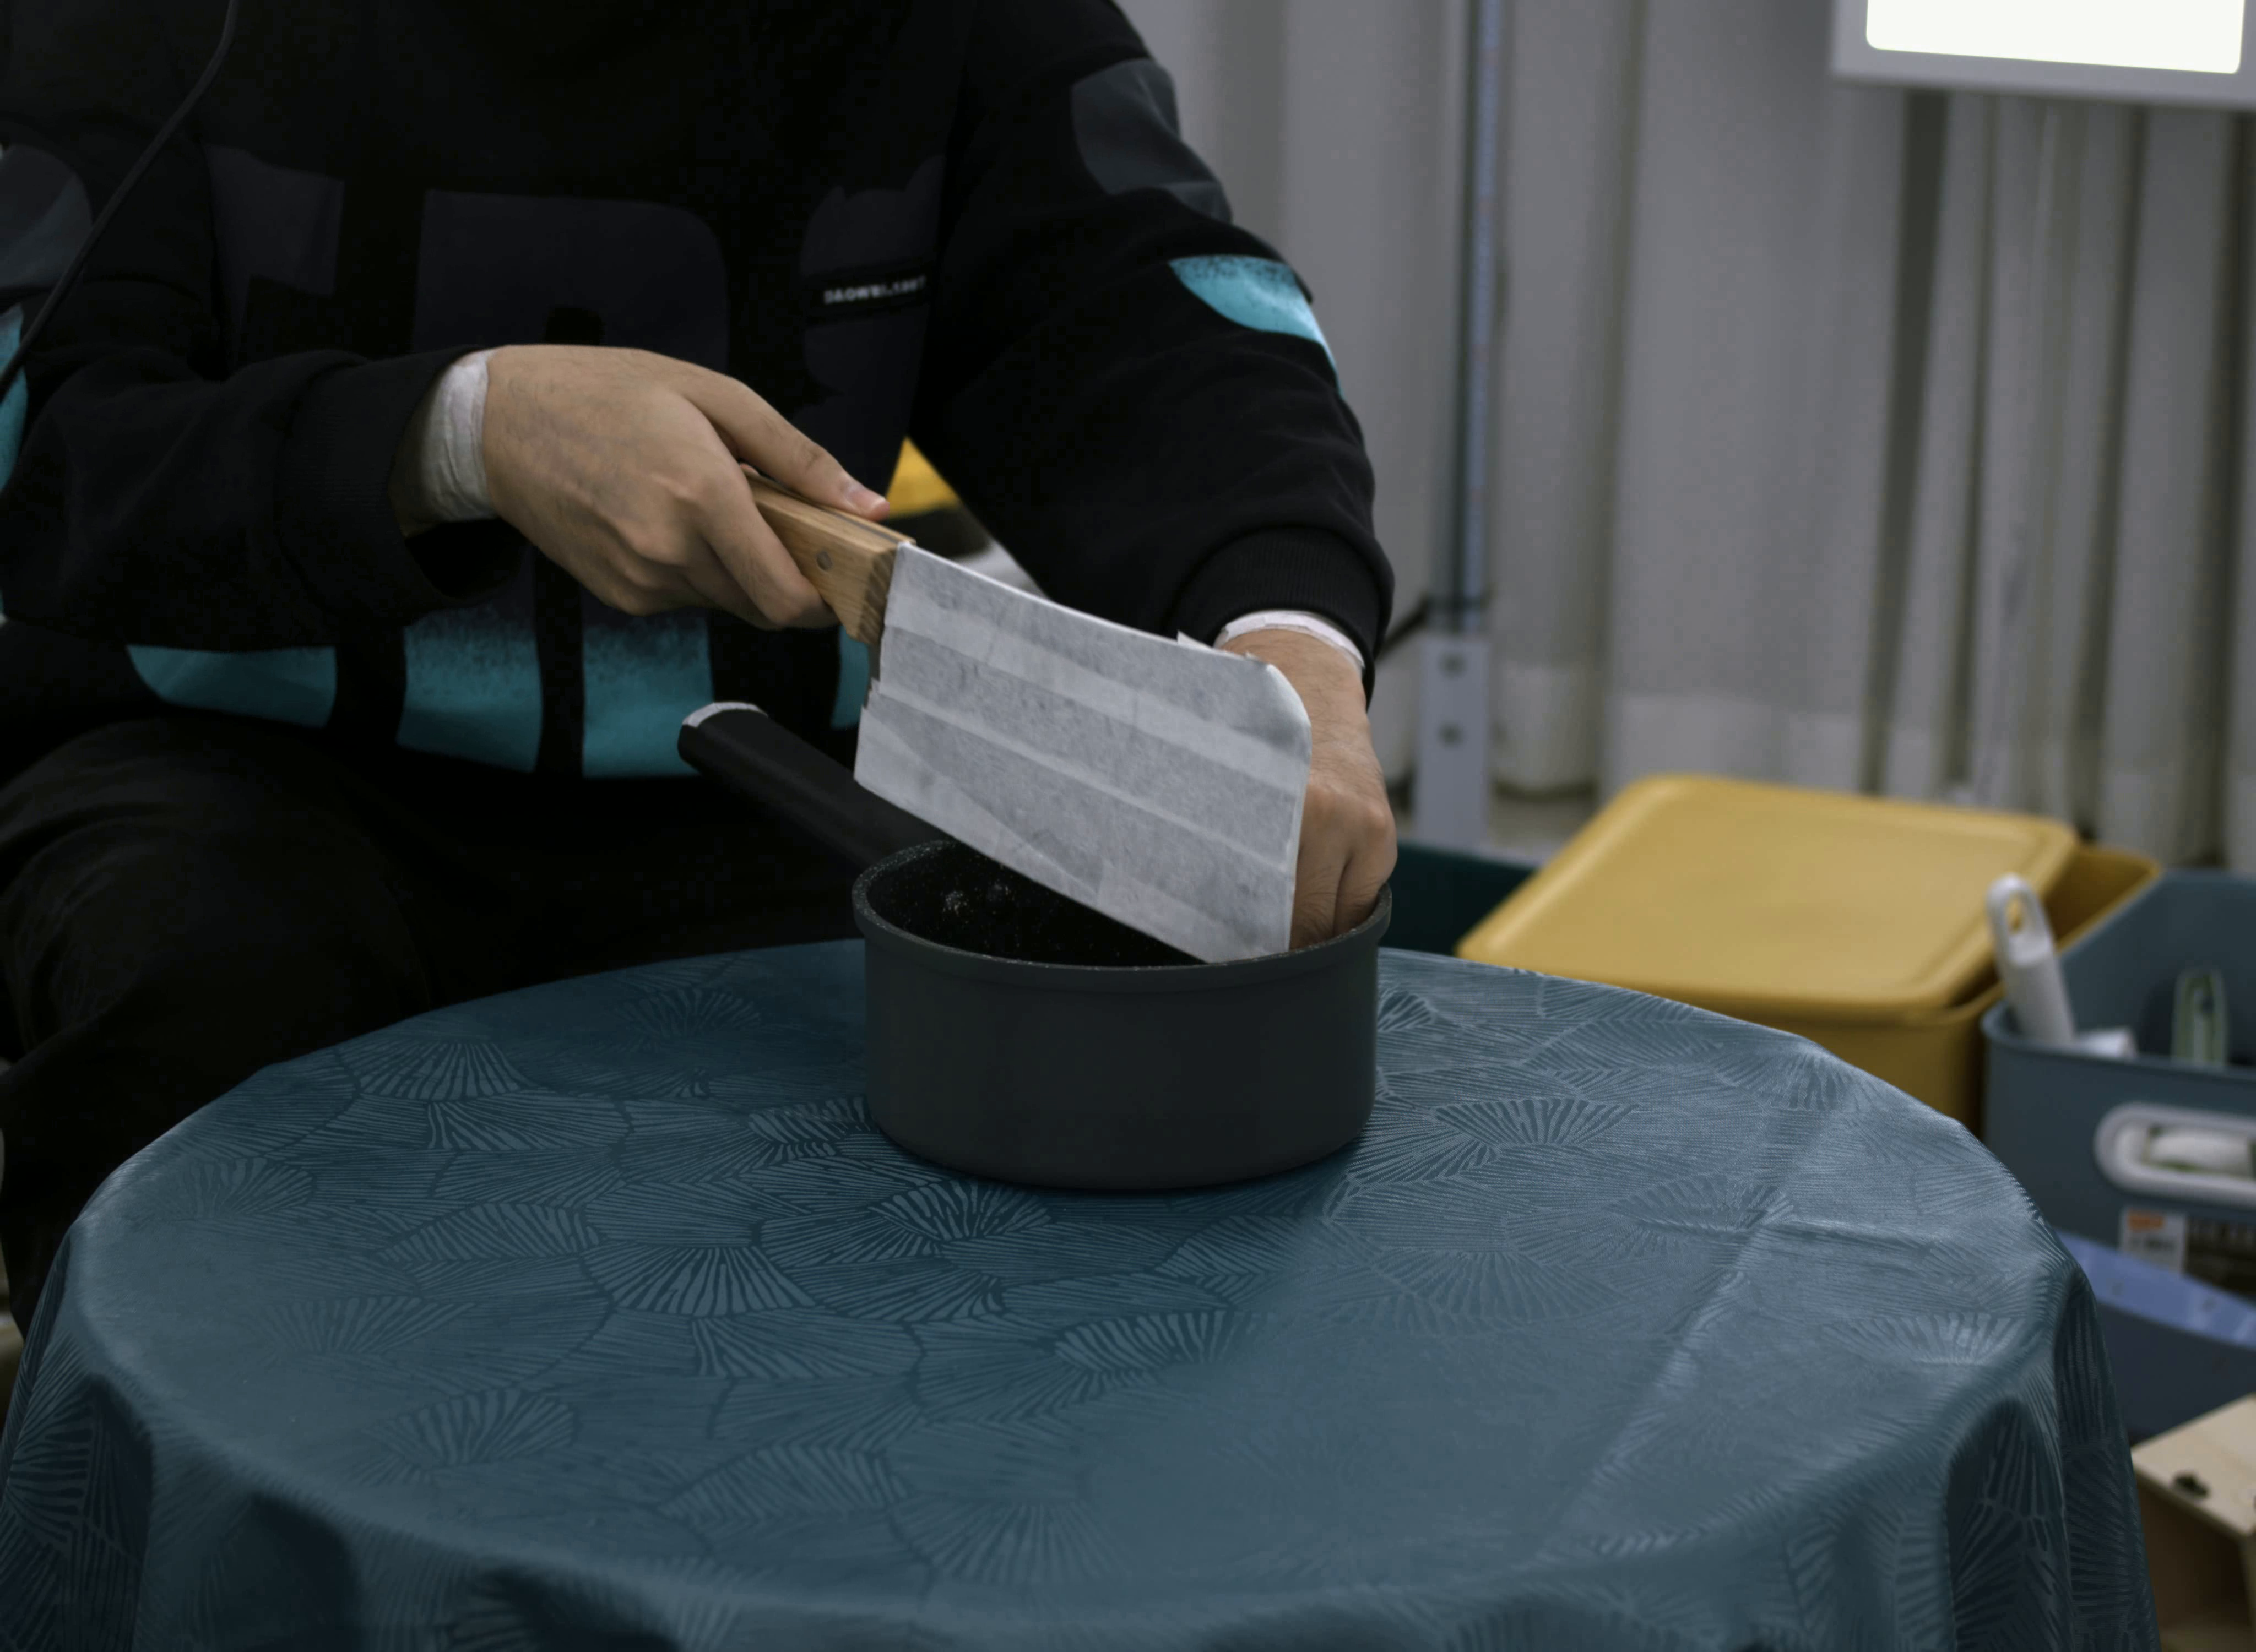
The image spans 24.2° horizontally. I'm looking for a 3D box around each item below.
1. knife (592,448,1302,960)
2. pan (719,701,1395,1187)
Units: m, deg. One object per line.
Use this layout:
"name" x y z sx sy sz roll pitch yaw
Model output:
"knife" -0.060 -0.055 1.684 0.311 0.115 0.022 28 29 33
"pan" -0.045 0.035 1.740 0.173 0.087 0.324 -7 18 -33
